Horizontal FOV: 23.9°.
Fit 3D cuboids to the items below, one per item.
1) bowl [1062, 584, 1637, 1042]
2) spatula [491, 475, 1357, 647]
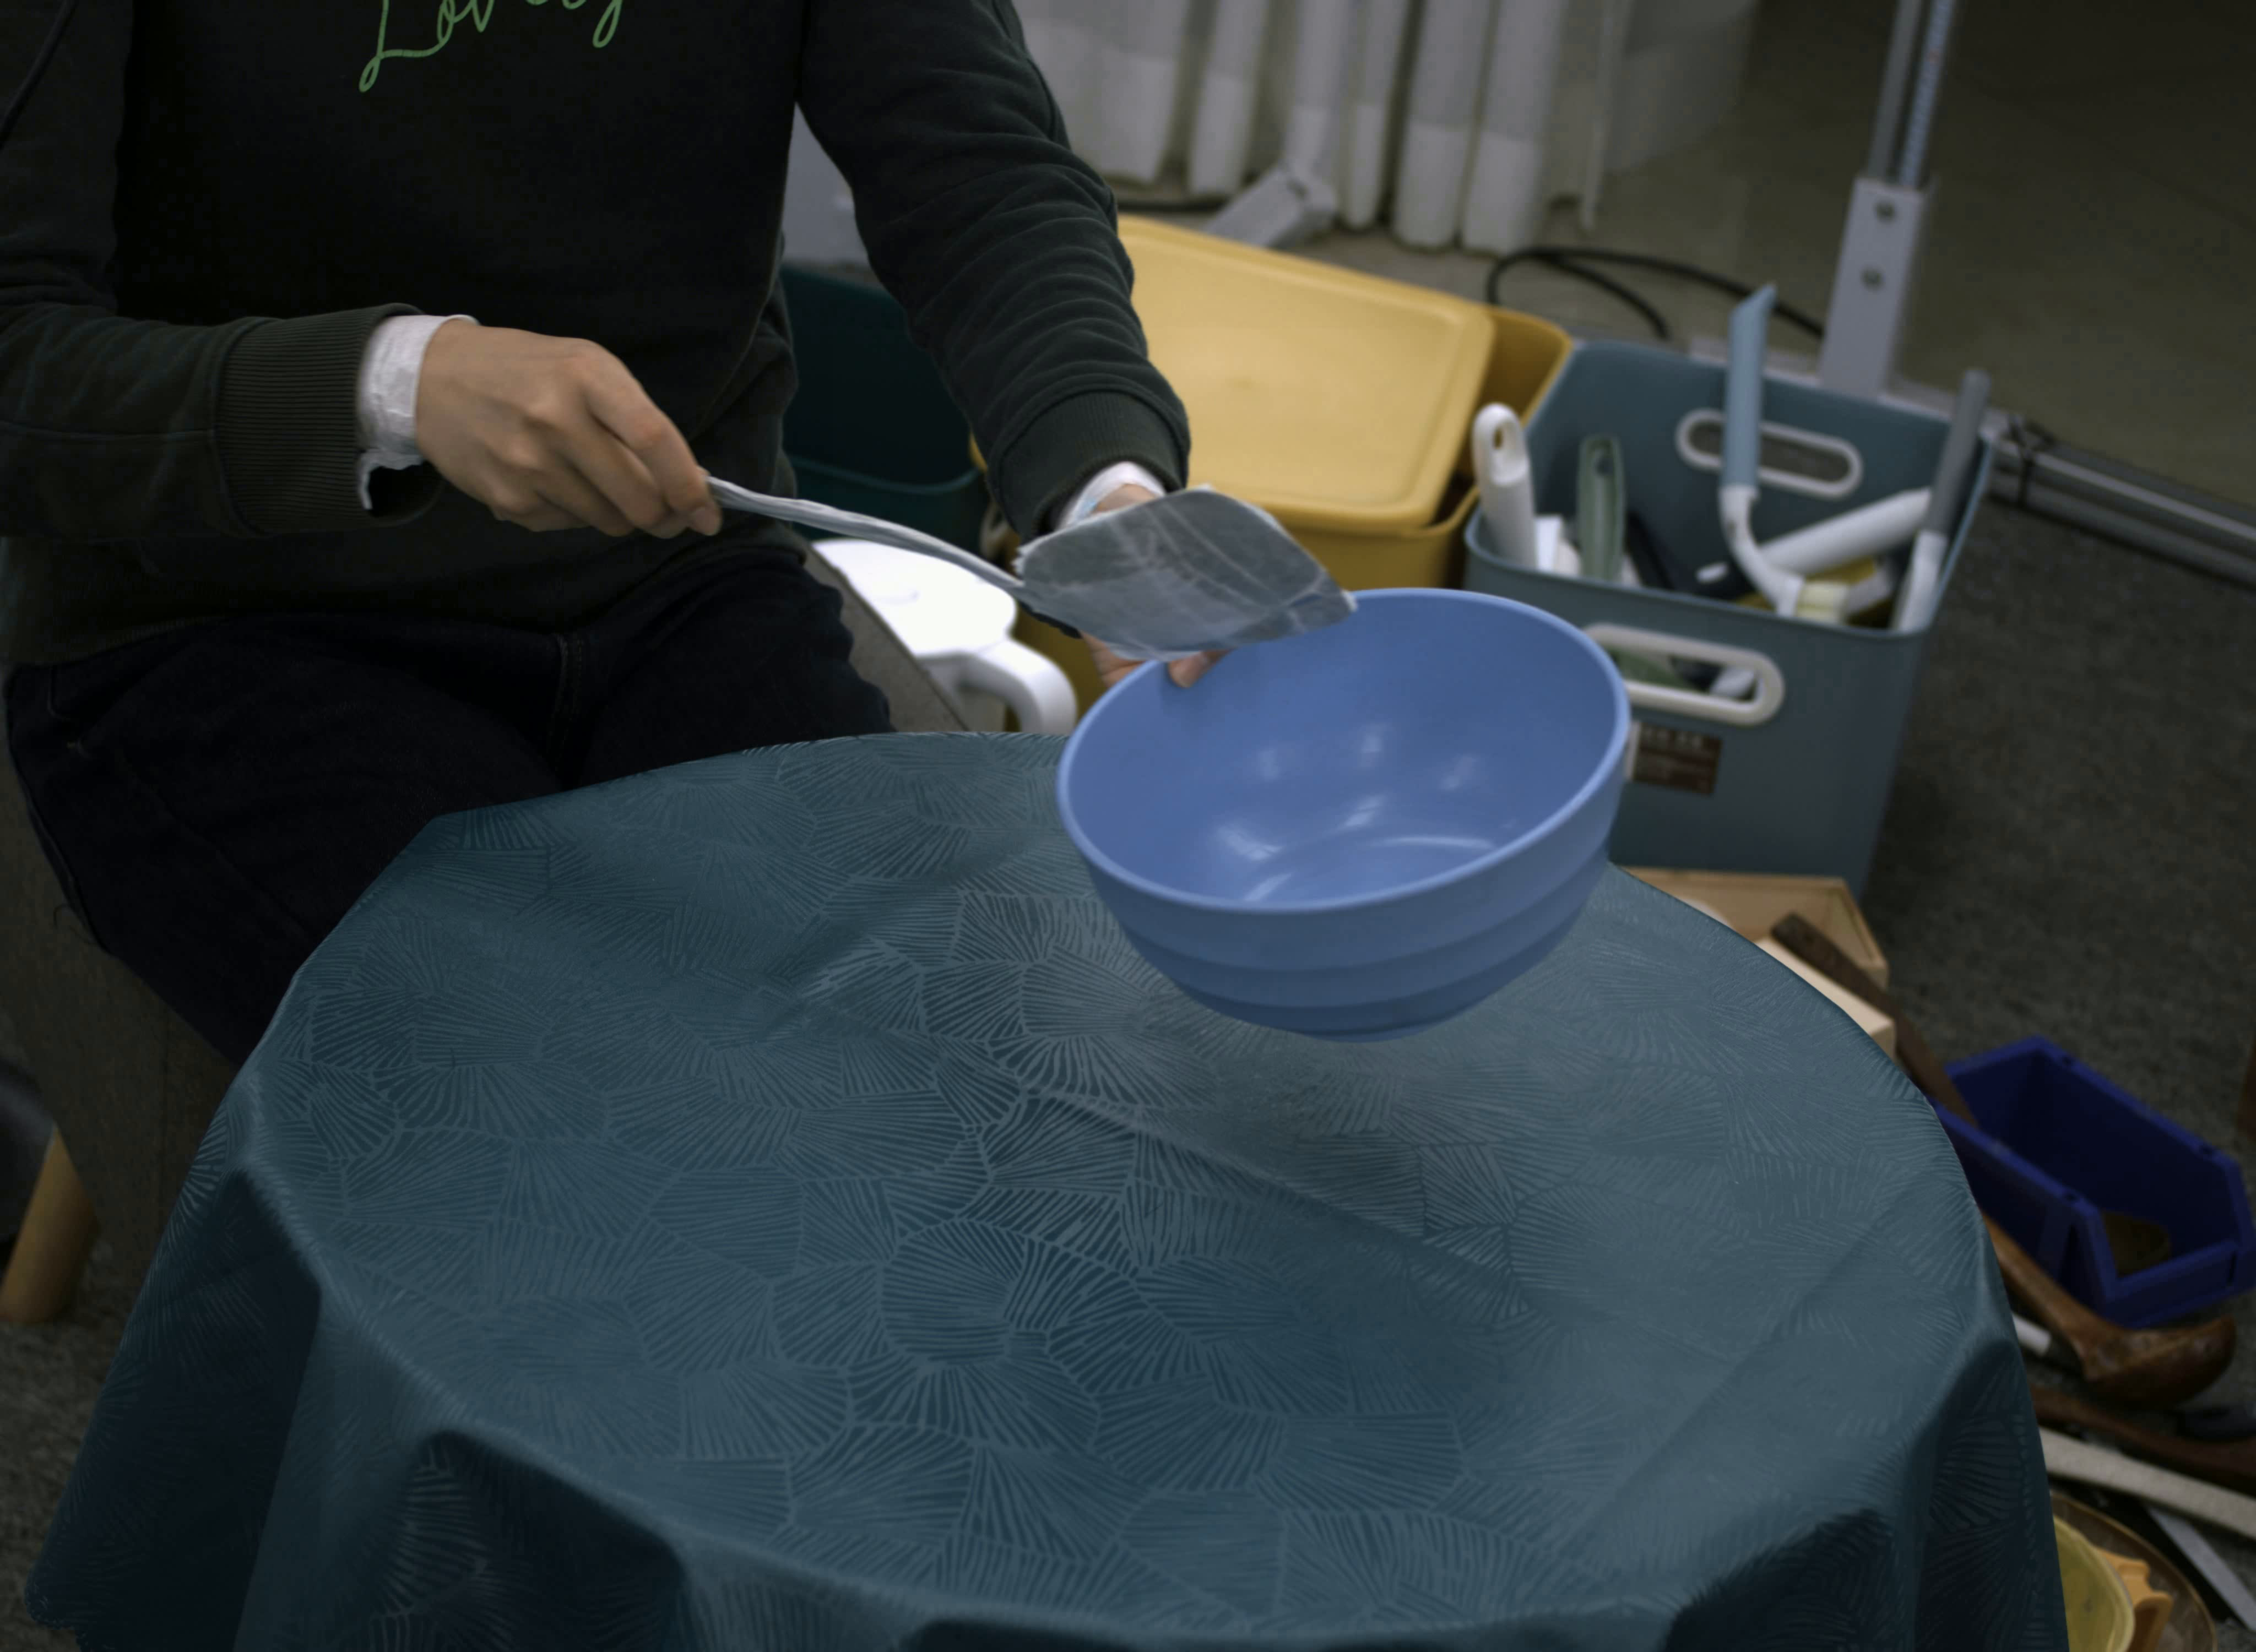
[{"bbox_3d":[0.082,0.009,1.813,0.196,0.095,0.198,-10,33,6],"label":"bowl"},{"bbox_3d":[-0.087,-0.103,1.800,0.367,0.045,0.098,13,-14,39],"label":"spatula"}]
